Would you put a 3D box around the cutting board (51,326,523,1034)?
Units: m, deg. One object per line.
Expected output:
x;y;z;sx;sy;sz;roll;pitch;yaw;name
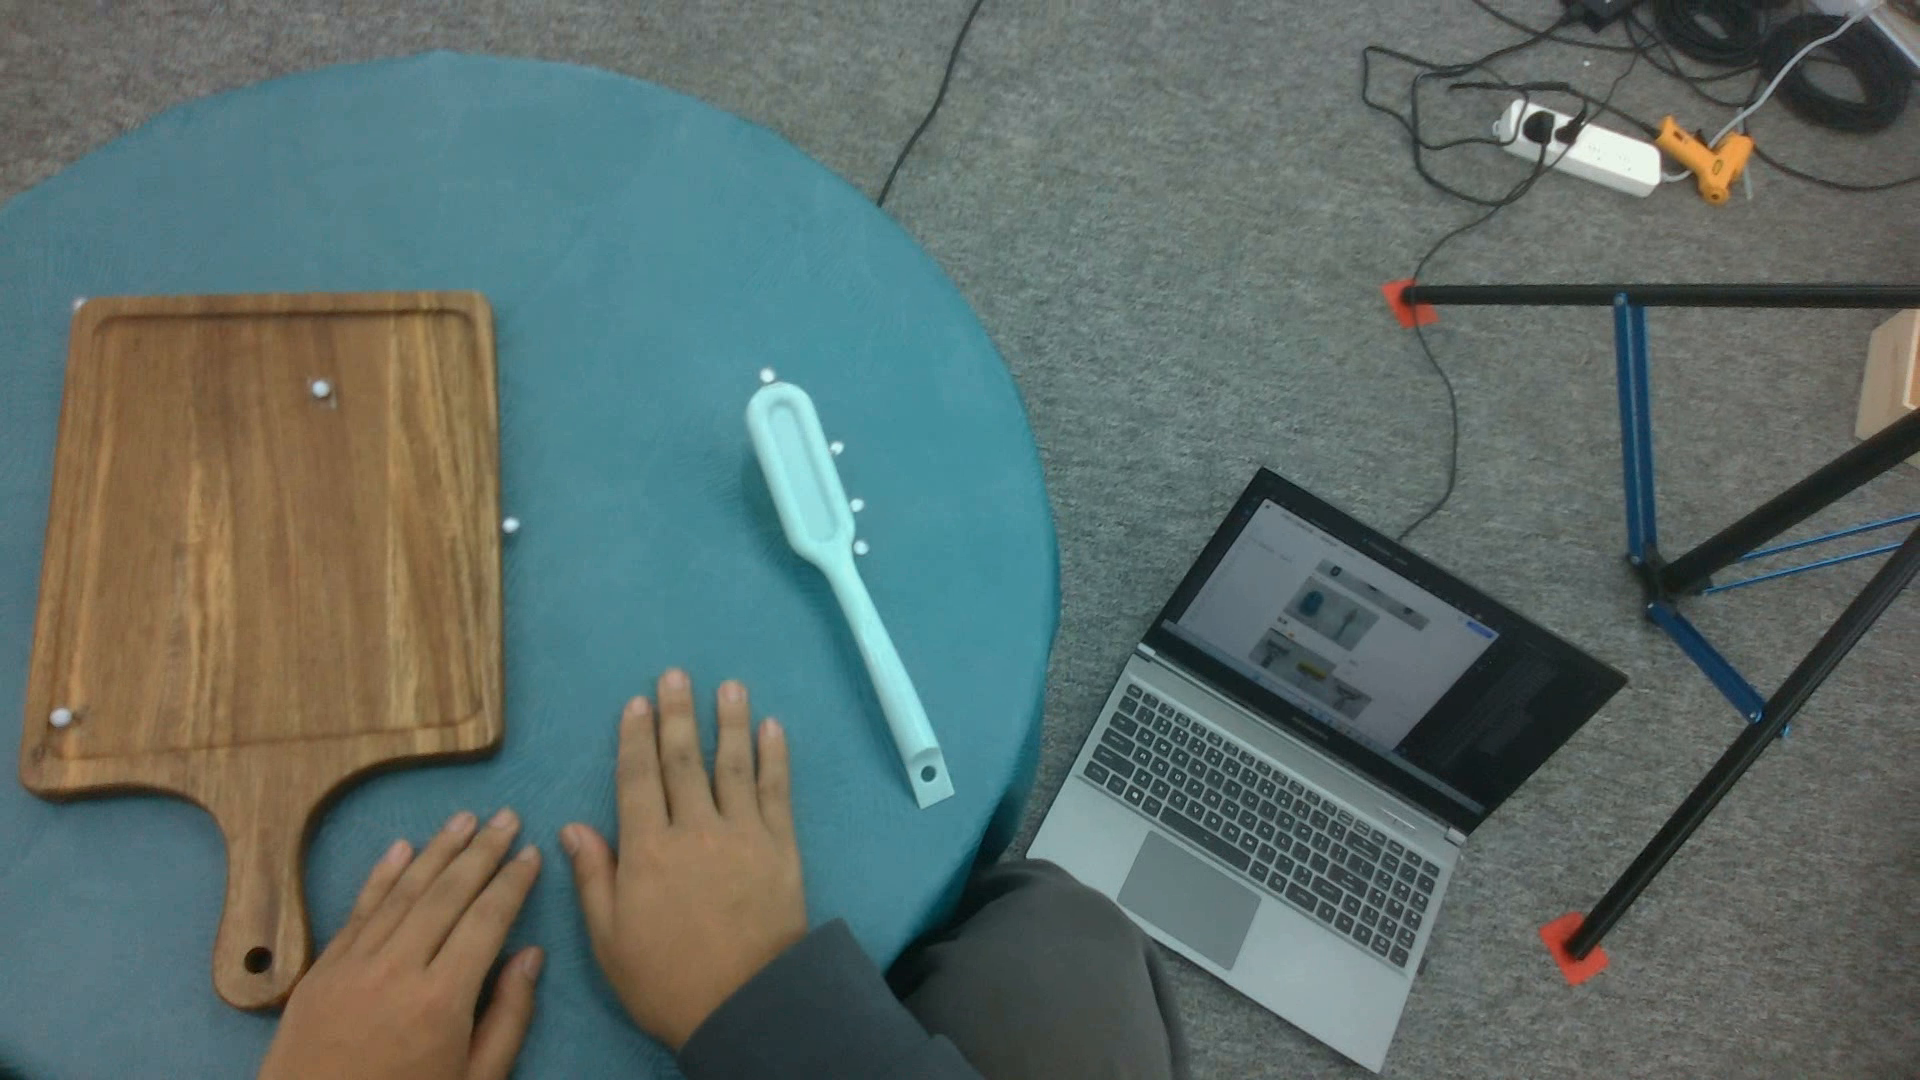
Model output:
-0.319;0.053;0.660;0.201;0.023;0.353;-6;66;-14;cutting board

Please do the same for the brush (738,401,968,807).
-0.055;0.033;0.719;0.038;0.049;0.229;-26;80;-16;brush
